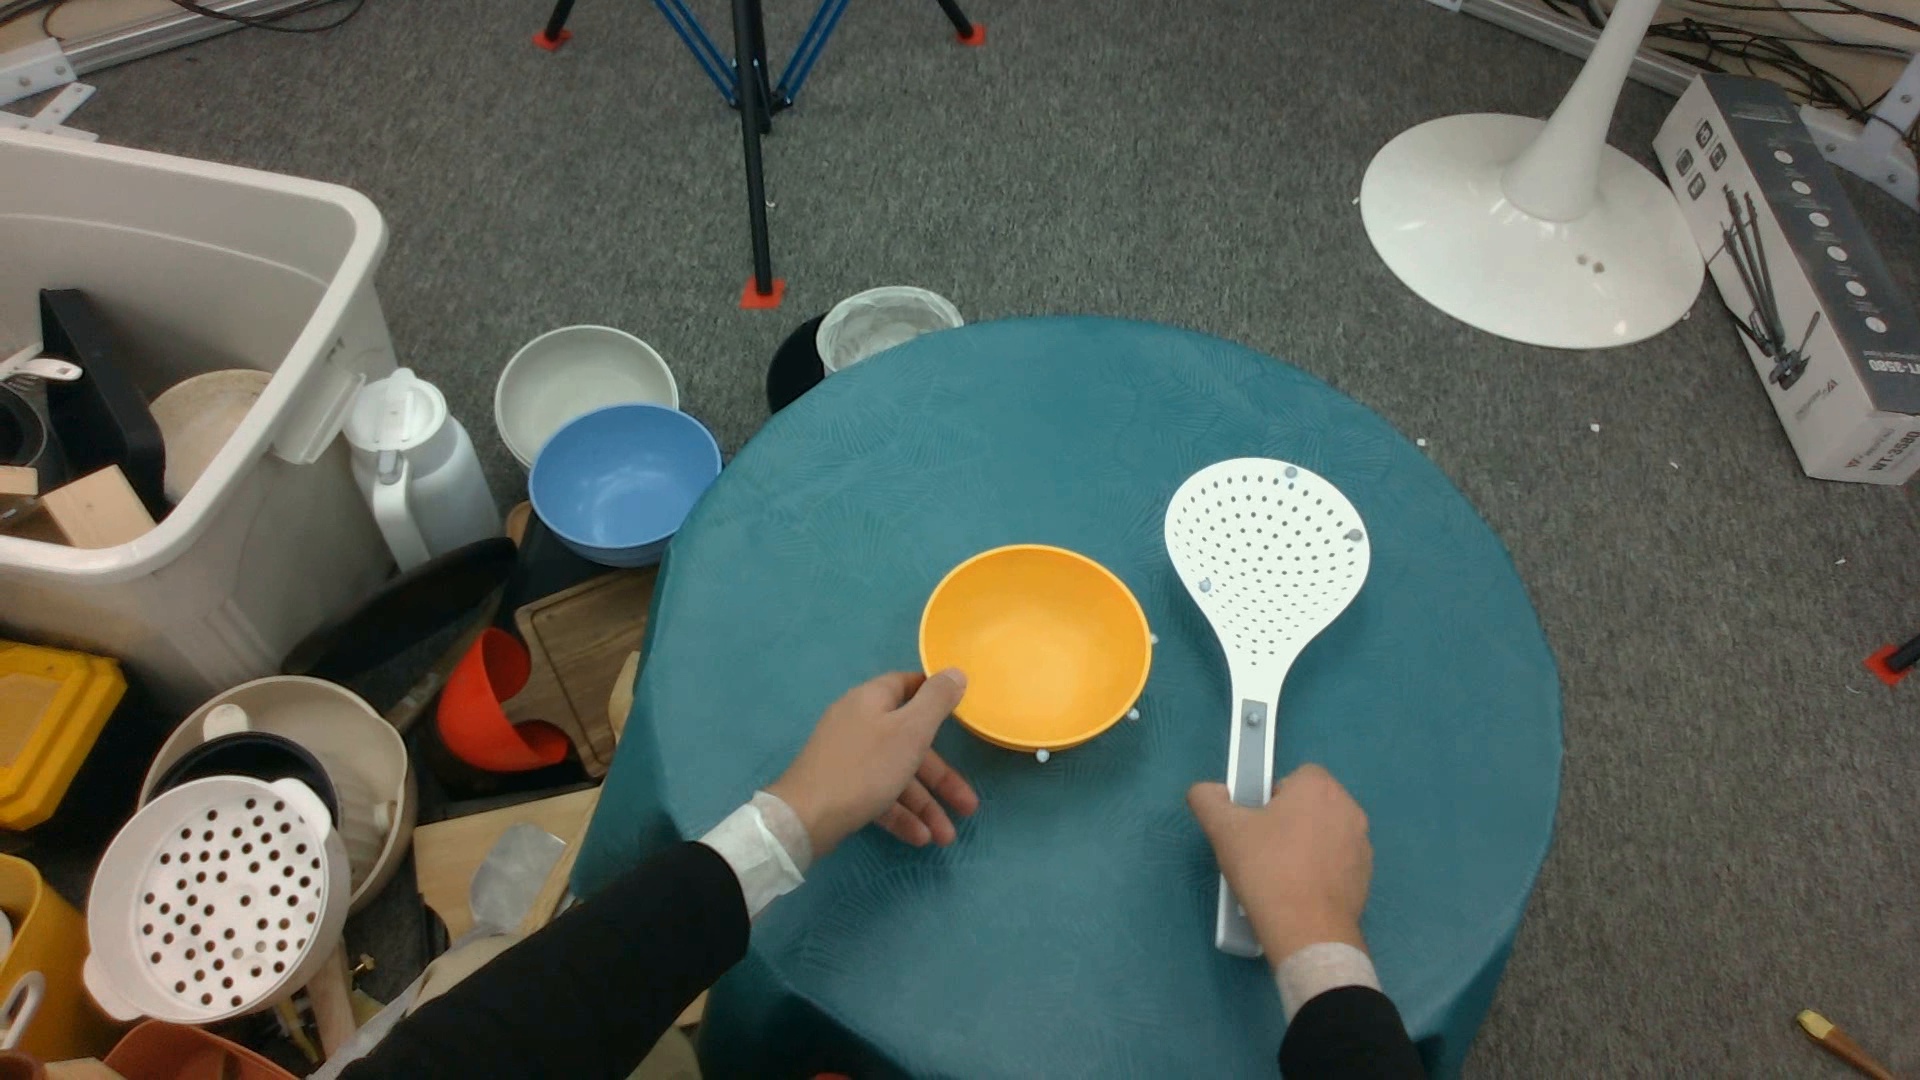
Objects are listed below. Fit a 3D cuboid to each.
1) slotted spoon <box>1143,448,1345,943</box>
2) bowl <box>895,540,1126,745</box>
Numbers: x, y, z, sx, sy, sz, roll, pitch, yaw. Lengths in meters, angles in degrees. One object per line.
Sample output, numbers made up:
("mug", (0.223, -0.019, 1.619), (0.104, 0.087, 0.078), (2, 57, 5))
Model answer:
("slotted spoon", (0.171, 0.082, 0.868), (0.136, 0.045, 0.351), (10, 50, 3))
("bowl", (0.030, 0.074, 0.869), (0.145, 0.060, 0.146), (2, 53, -3))
